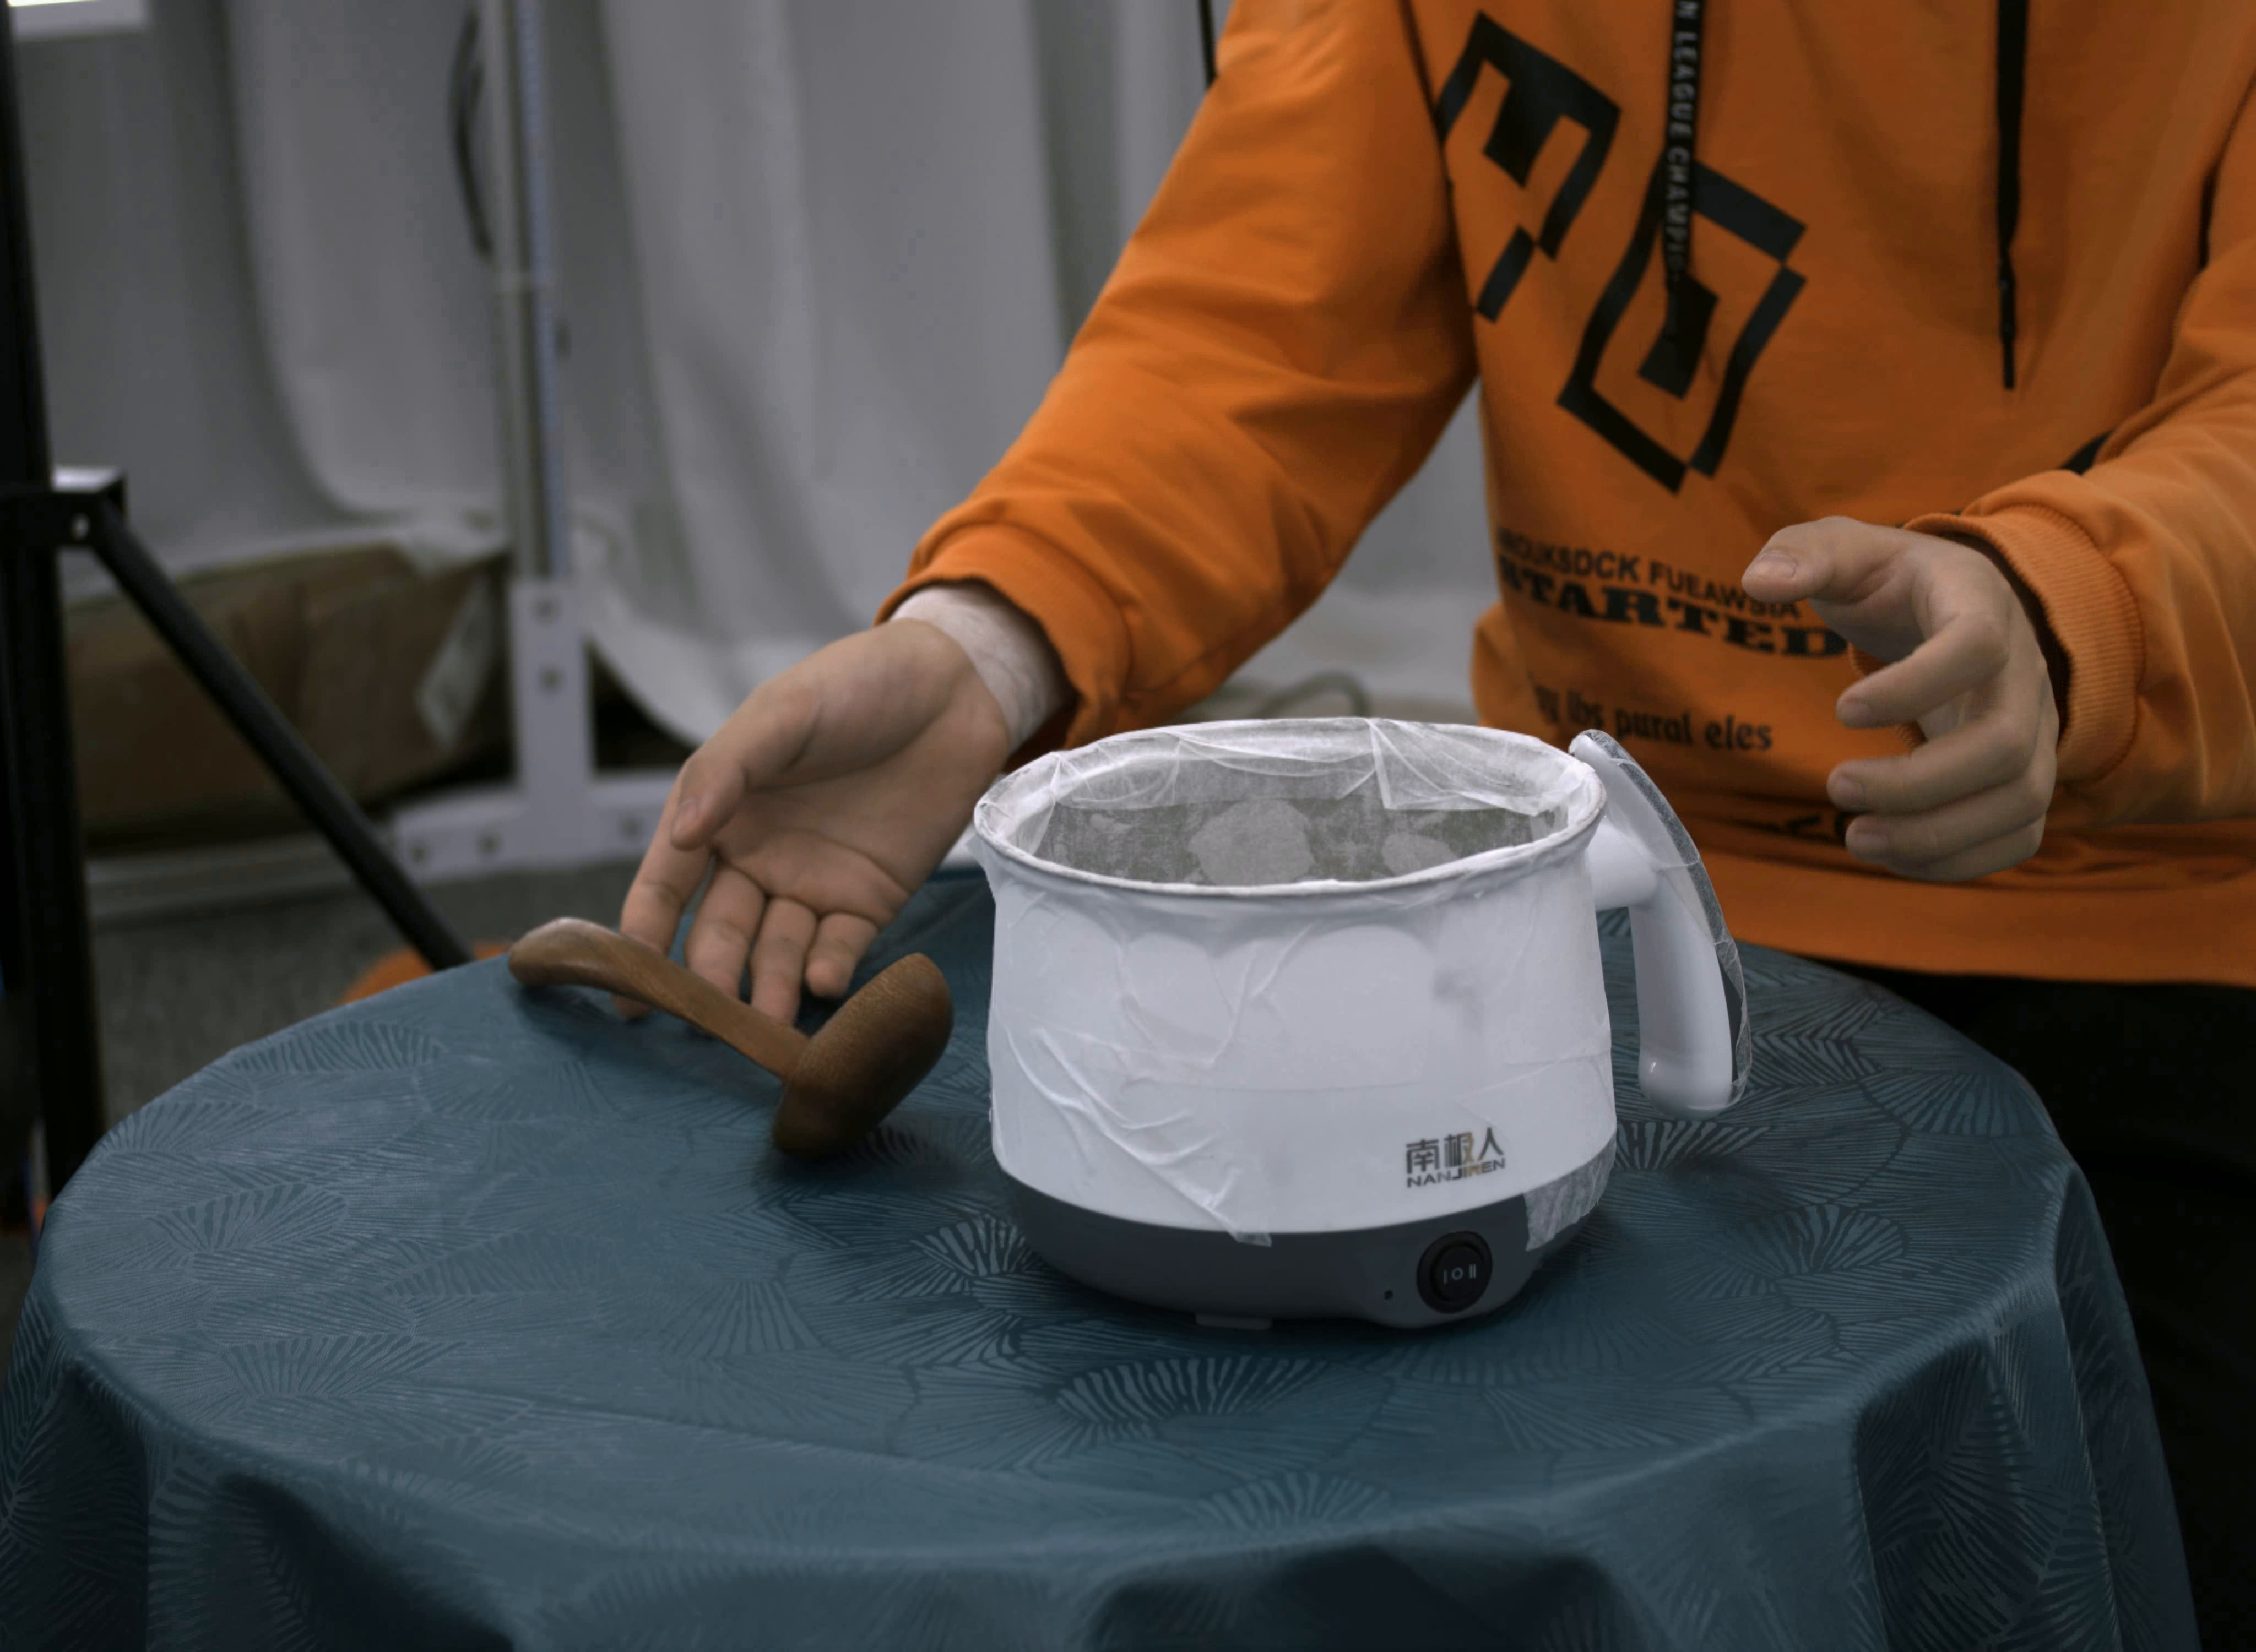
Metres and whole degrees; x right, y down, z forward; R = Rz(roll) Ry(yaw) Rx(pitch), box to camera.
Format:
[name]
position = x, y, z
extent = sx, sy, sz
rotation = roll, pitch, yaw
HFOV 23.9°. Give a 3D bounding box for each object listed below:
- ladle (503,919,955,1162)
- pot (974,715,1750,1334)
[ladle]
position = -0.138, 0.050, 1.675
extent = 0.076, 0.064, 0.266
rotation = -37, 30, -21
[pot]
position = 0.072, 0.049, 1.502
extent = 0.229, 0.136, 0.182
rotation = -10, 18, -25
